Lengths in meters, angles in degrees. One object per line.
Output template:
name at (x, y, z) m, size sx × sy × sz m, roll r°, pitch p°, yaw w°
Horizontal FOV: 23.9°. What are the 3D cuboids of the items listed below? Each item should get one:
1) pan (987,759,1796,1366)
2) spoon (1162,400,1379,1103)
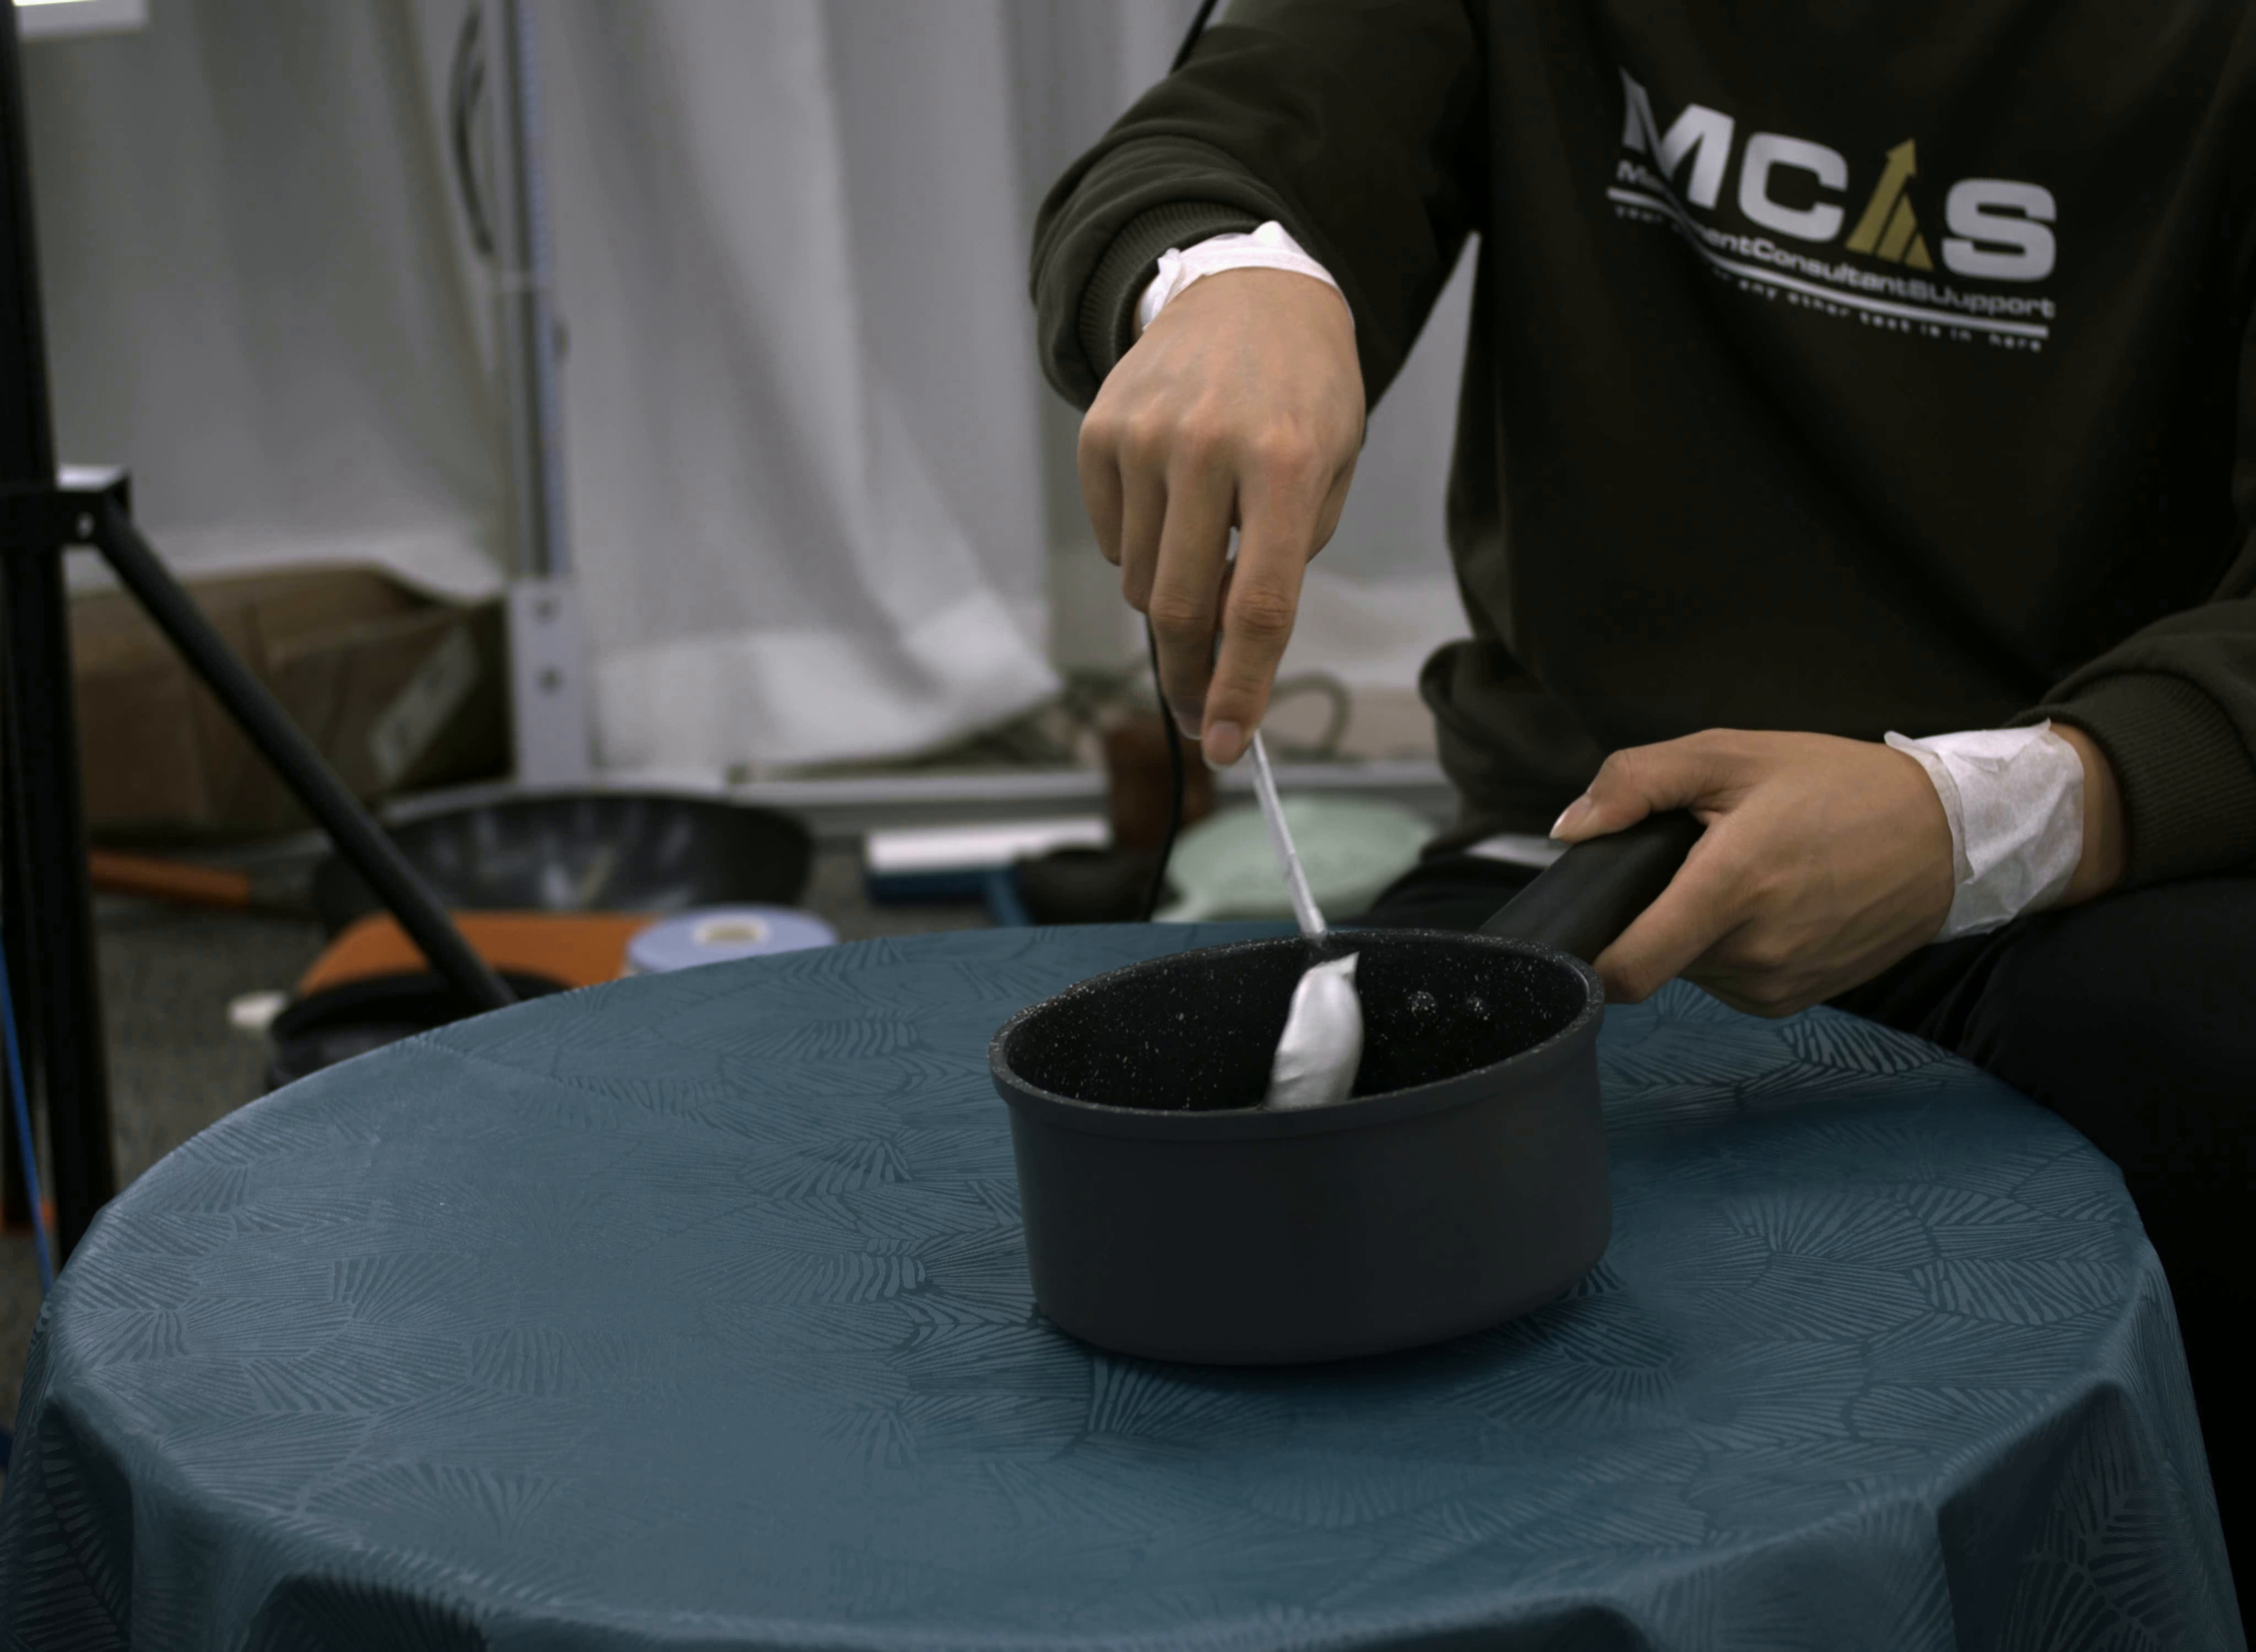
pan at (0.097, 0.065, 1.521) m, size 0.175 × 0.086 × 0.322 m, roll 6°, pitch 20°, yaw 38°
spoon at (0.023, -0.012, 1.524) m, size 0.058 × 0.101 × 0.282 m, roll -4°, pitch 57°, yaw -19°
